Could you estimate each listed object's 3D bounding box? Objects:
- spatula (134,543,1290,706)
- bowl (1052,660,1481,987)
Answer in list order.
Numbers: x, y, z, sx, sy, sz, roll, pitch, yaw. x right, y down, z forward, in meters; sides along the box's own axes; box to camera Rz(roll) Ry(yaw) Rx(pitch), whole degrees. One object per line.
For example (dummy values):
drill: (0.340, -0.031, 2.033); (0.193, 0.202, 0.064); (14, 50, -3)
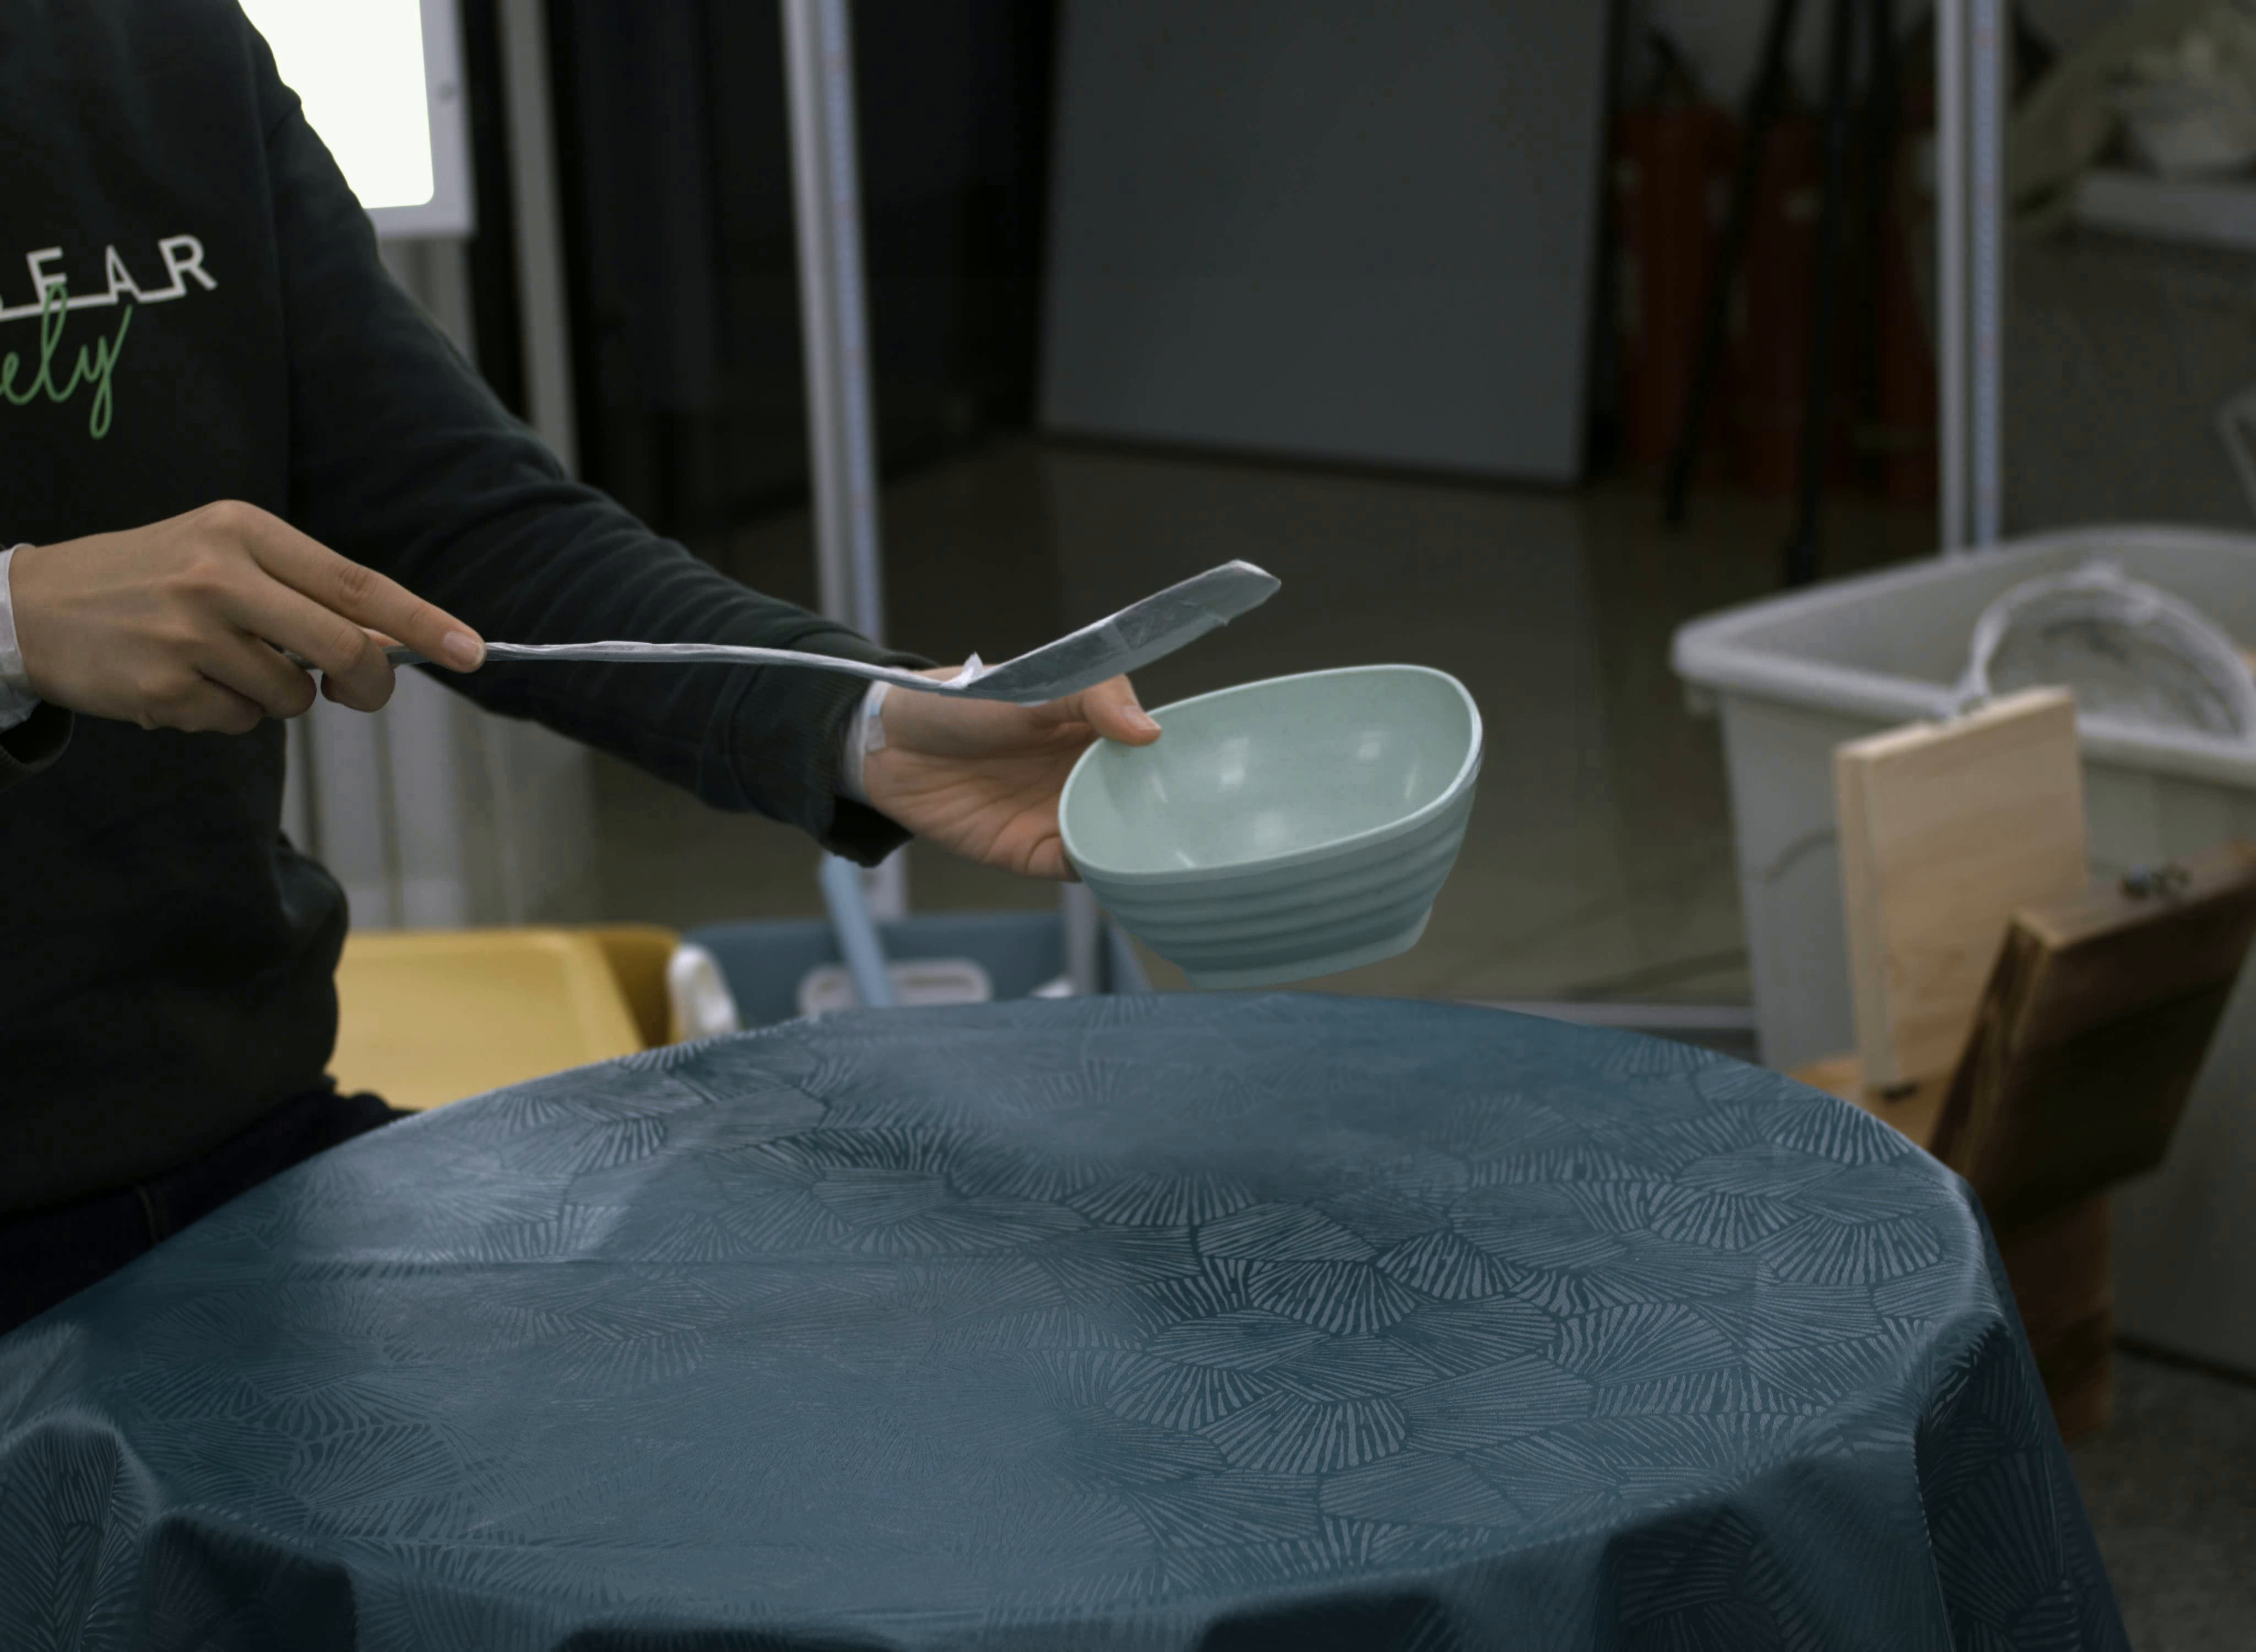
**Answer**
spatula: (-0.131, -0.059, 1.635); (0.362, 0.045, 0.098); (0, -2, 10)
bowl: (0.048, 0.005, 1.720); (0.150, 0.059, 0.152); (-10, 26, 4)
